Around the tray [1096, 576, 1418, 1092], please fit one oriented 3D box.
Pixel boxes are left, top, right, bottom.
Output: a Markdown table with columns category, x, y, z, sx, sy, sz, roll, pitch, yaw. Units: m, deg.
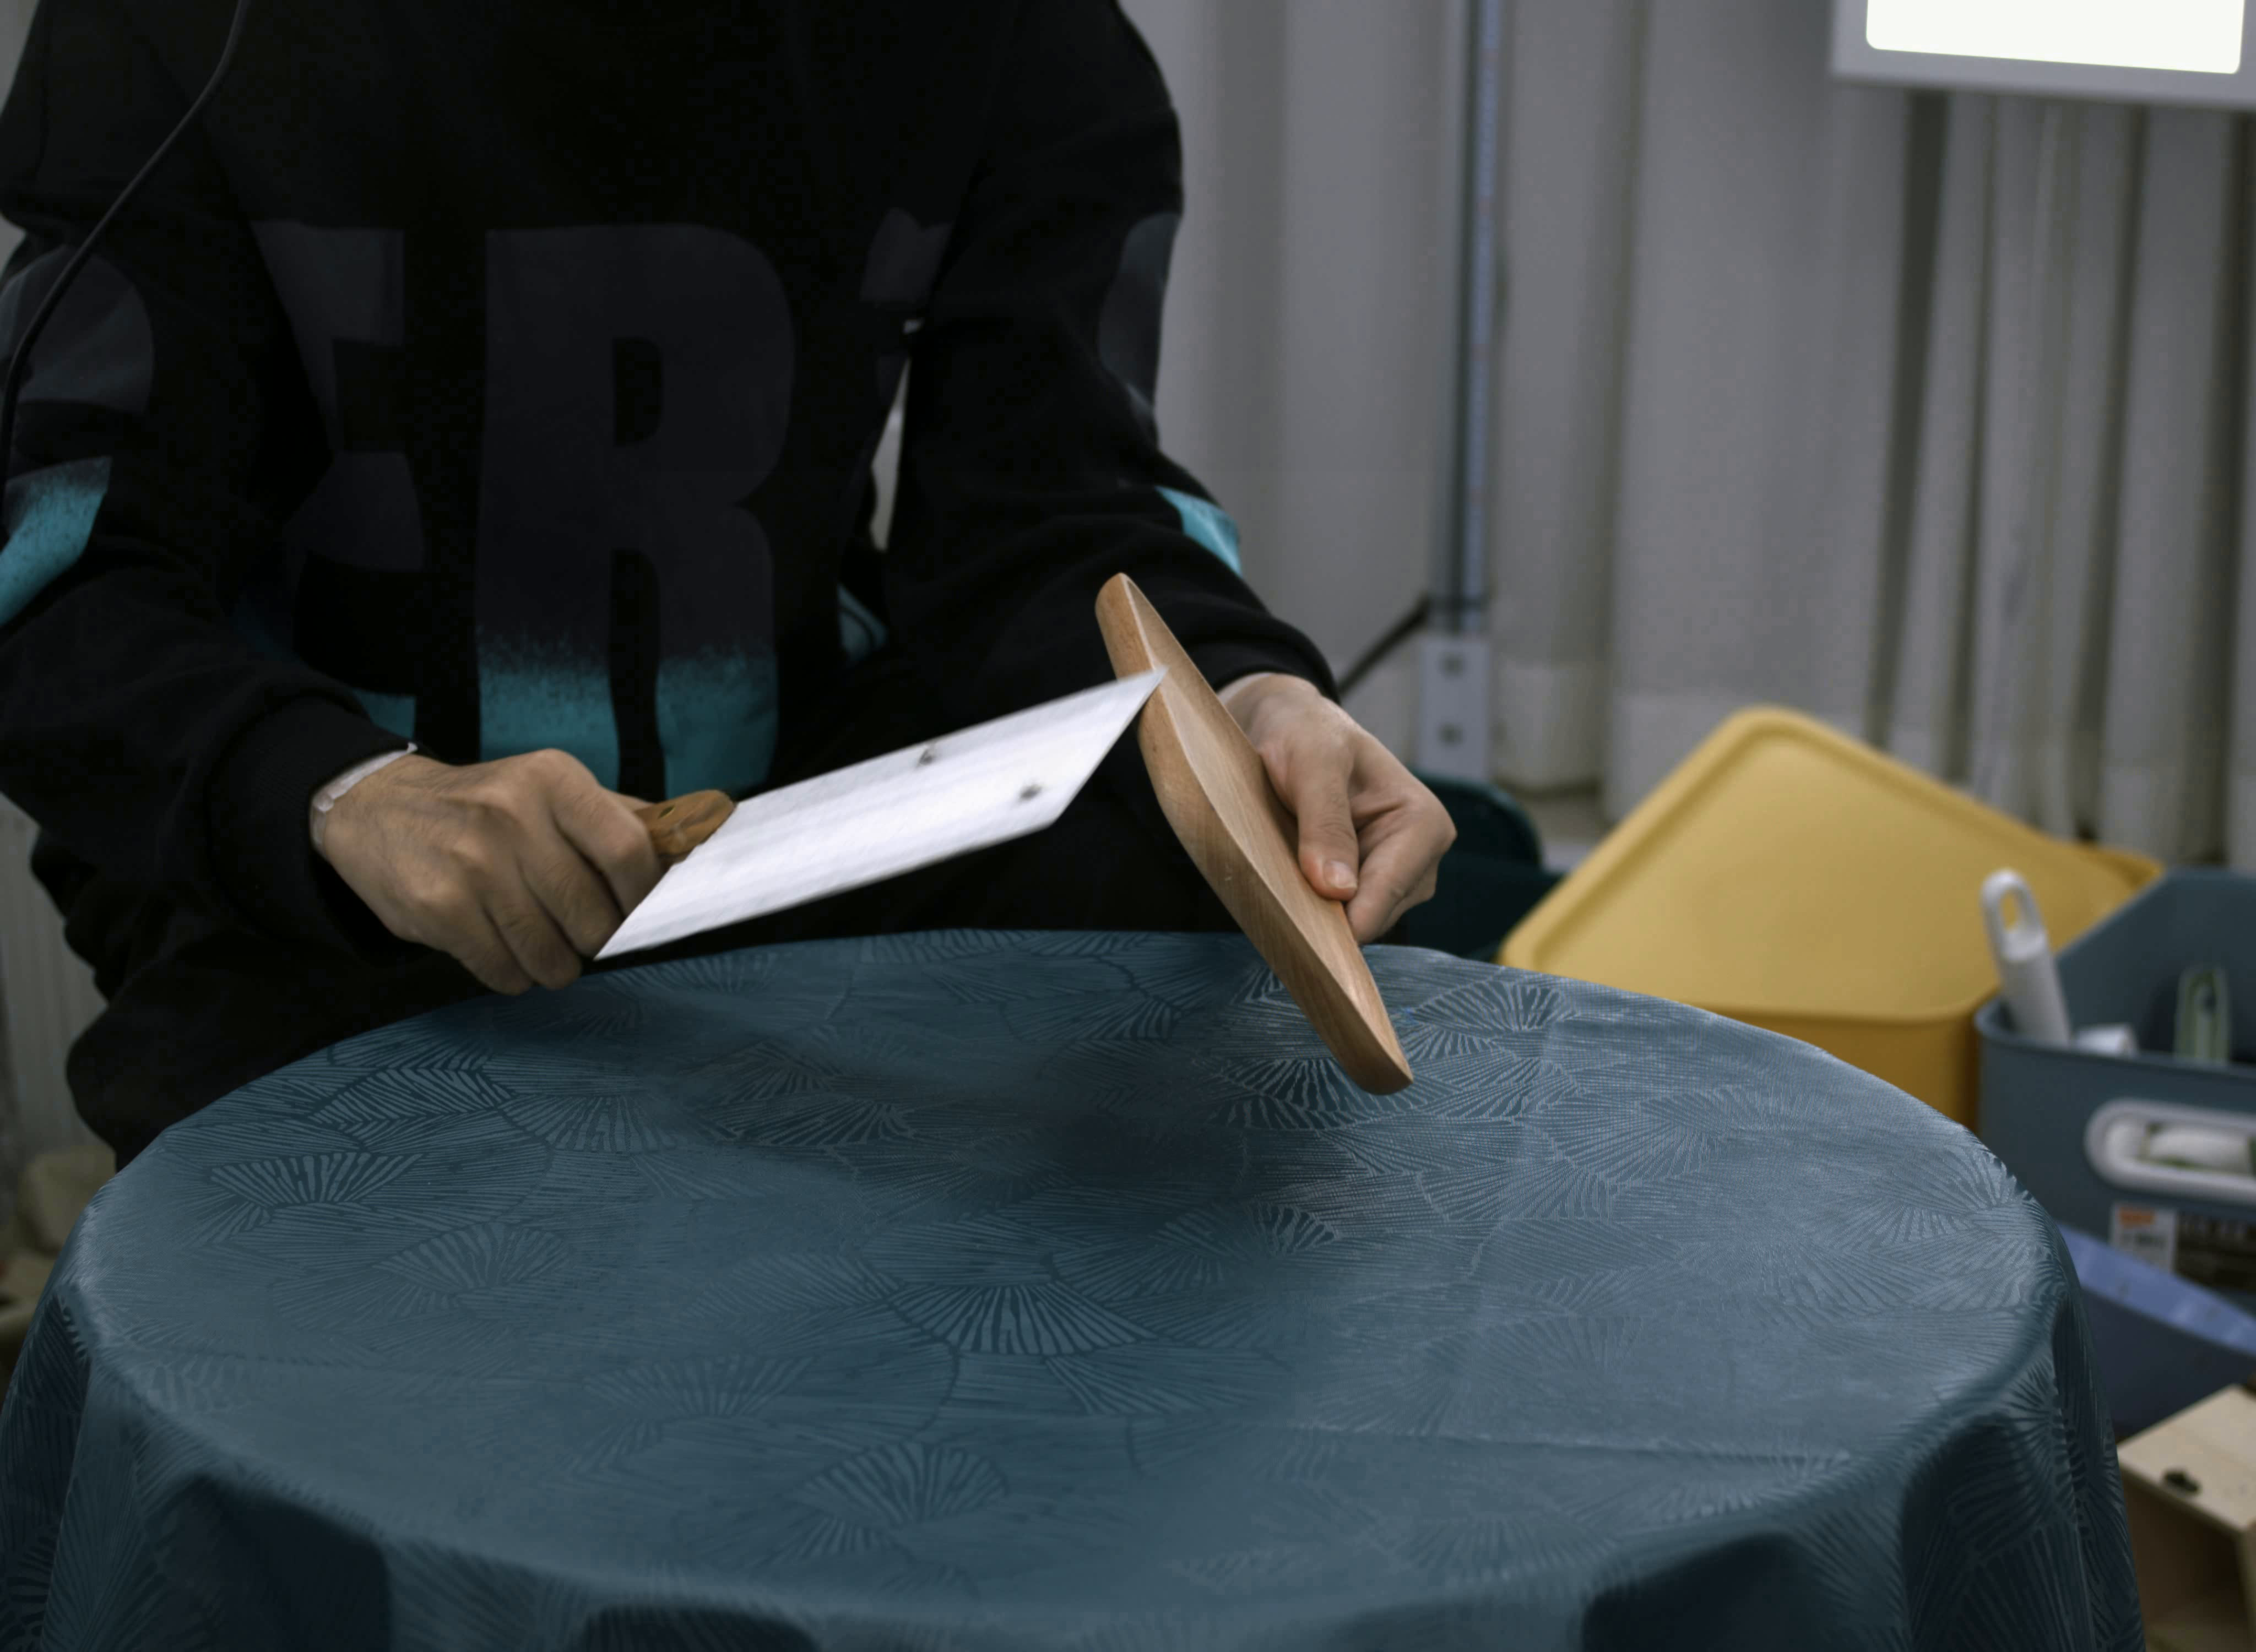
| category | x | y | z | sx | sy | sz | roll | pitch | yaw |
| --- | --- | --- | --- | --- | --- | --- | --- | --- | --- |
| tray | 0.037 | 0.000 | 1.674 | 0.023 | 0.132 | 0.249 | -32 | 18 | 4 |

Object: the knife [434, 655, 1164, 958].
| category | x | y | z | sx | sy | sz | roll | pitch | yaw |
| --- | --- | --- | --- | --- | --- | --- | --- | --- | --- |
| knife | -0.120 | 0.007 | 1.693 | 0.303 | 0.021 | 0.092 | -18 | 24 | 34 |
